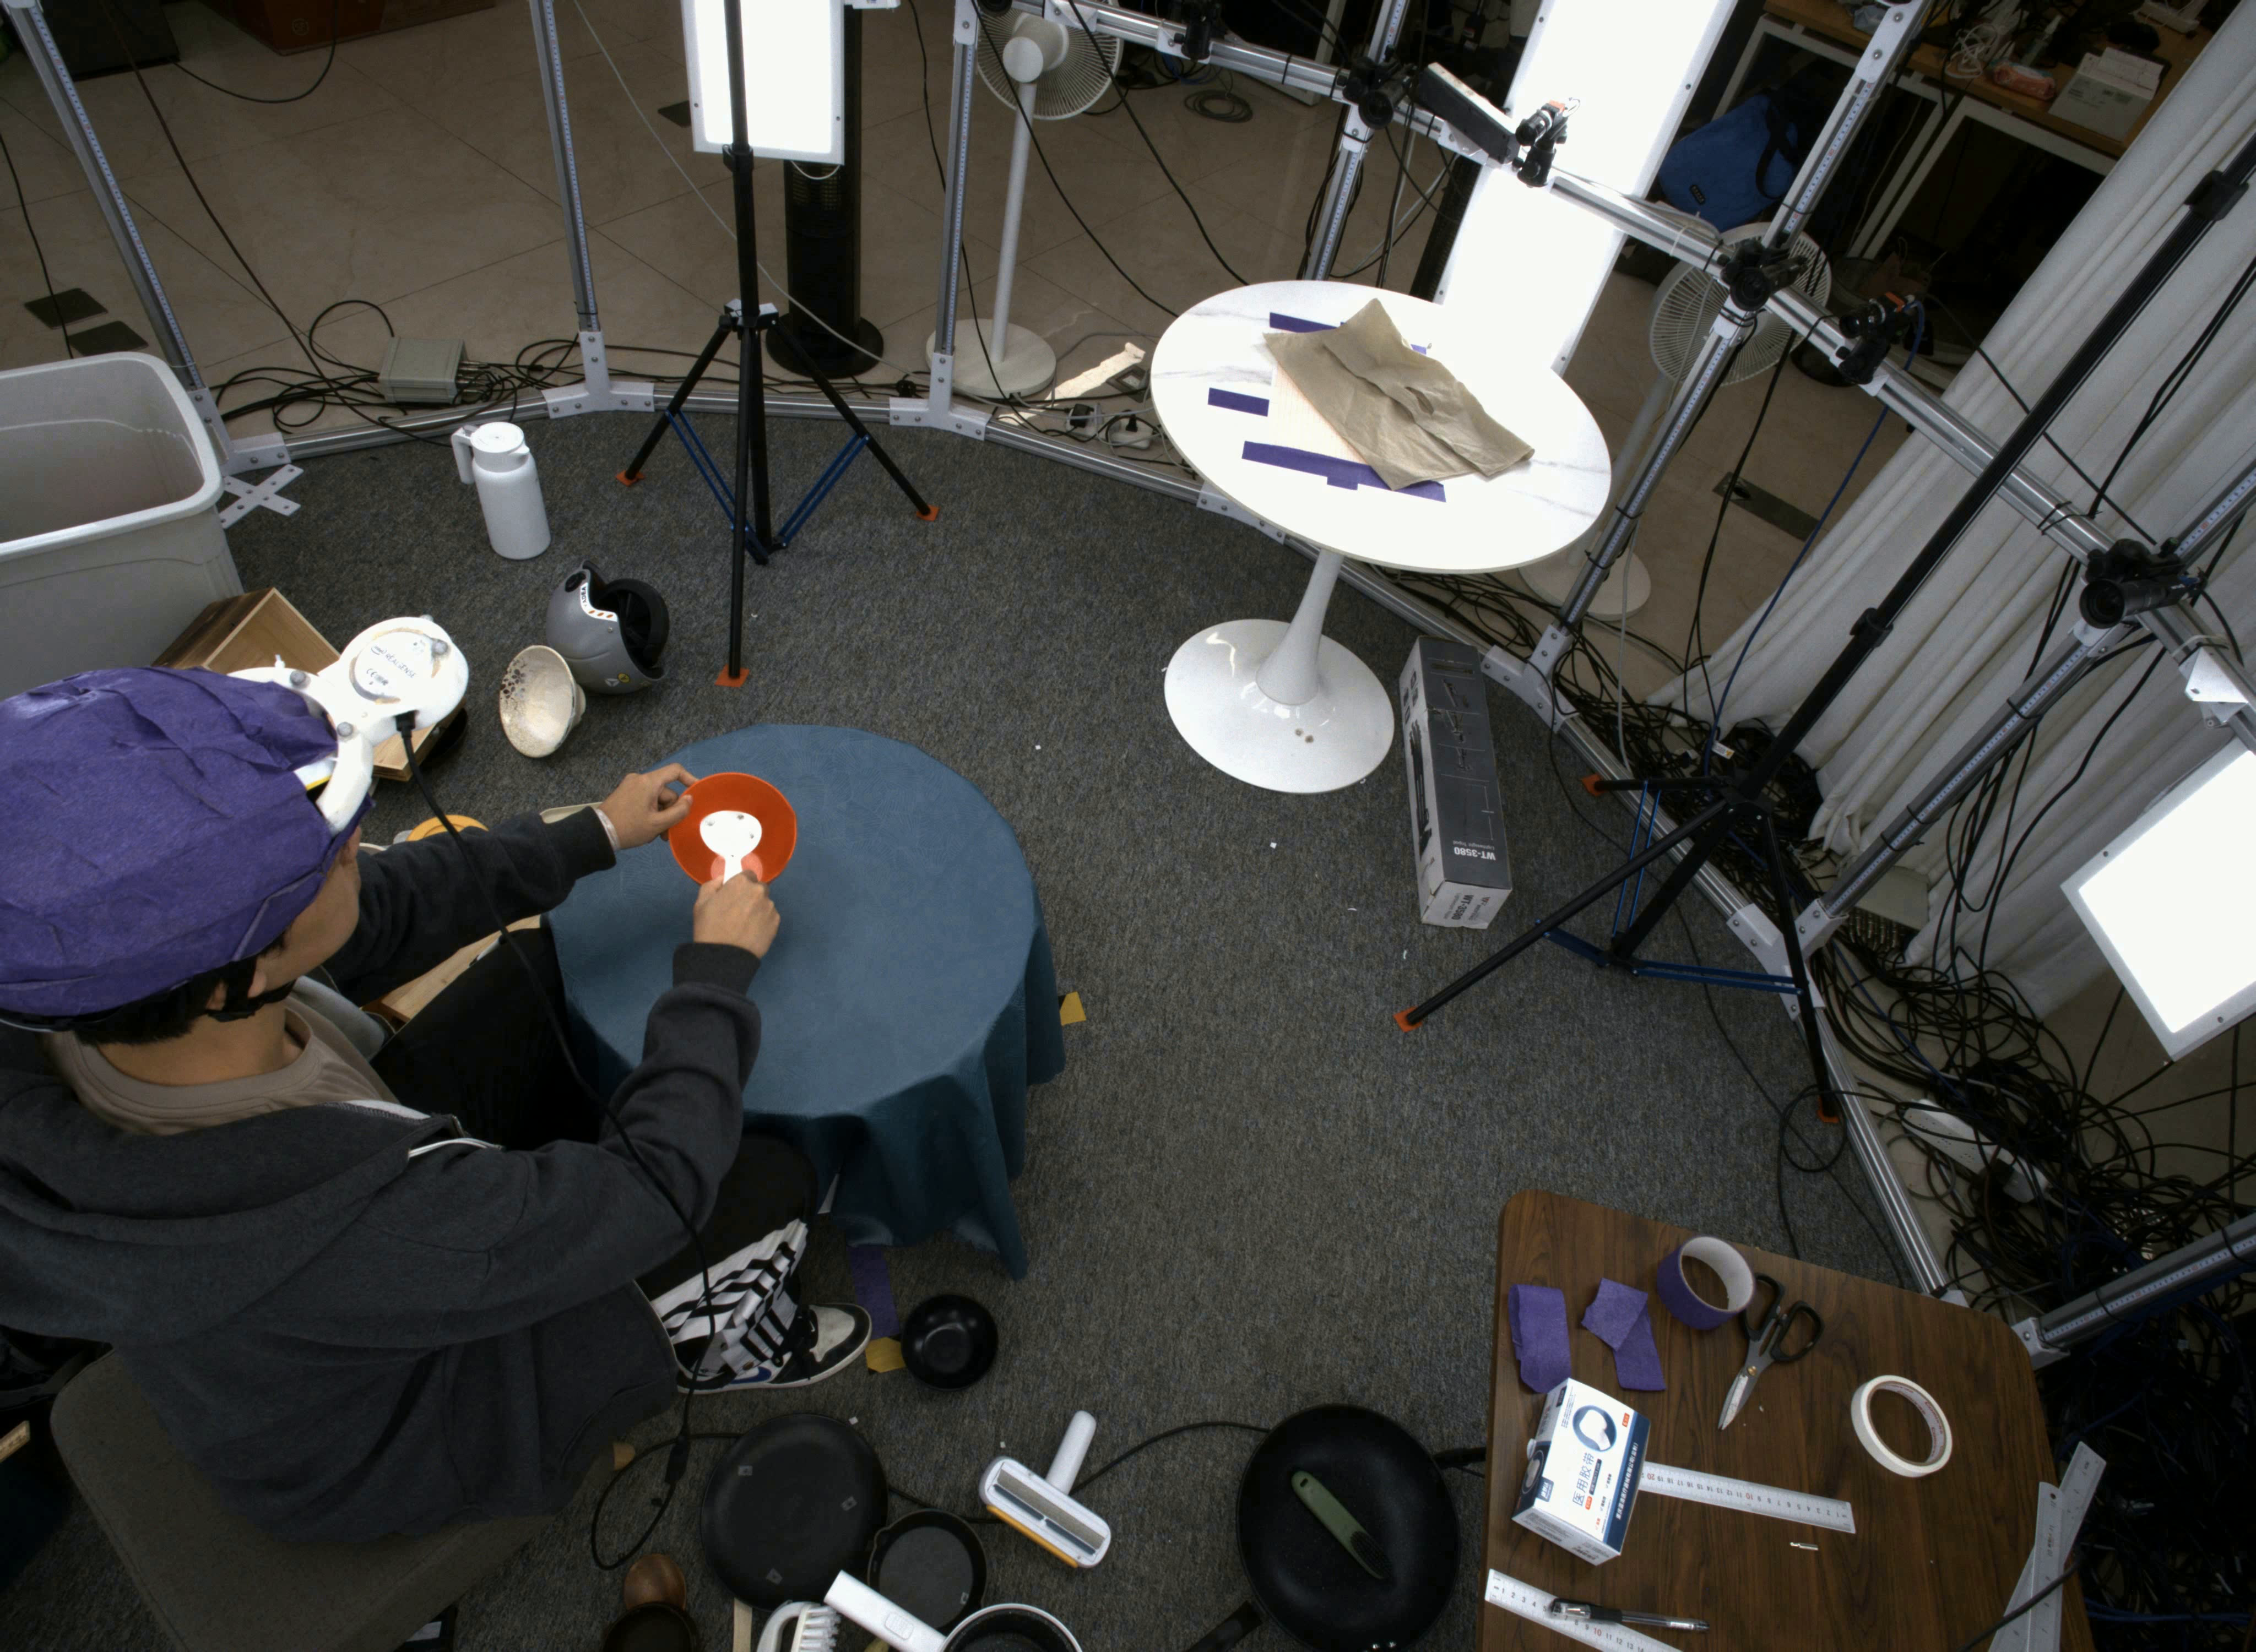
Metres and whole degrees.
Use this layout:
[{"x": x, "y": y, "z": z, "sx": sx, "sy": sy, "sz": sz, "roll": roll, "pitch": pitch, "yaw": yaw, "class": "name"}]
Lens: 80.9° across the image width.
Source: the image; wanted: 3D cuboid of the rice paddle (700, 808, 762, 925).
[{"x": -0.438, "y": 0.034, "z": 1.434, "sx": 0.069, "sy": 0.030, "sz": 0.198, "roll": 2, "pitch": 35, "yaw": -22, "class": "rice paddle"}]

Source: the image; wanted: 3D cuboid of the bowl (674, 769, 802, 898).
[{"x": -0.470, "y": 0.021, "z": 1.564, "sx": 0.148, "sy": 0.105, "sz": 0.146, "roll": 8, "pitch": 62, "yaw": -13, "class": "bowl"}]
